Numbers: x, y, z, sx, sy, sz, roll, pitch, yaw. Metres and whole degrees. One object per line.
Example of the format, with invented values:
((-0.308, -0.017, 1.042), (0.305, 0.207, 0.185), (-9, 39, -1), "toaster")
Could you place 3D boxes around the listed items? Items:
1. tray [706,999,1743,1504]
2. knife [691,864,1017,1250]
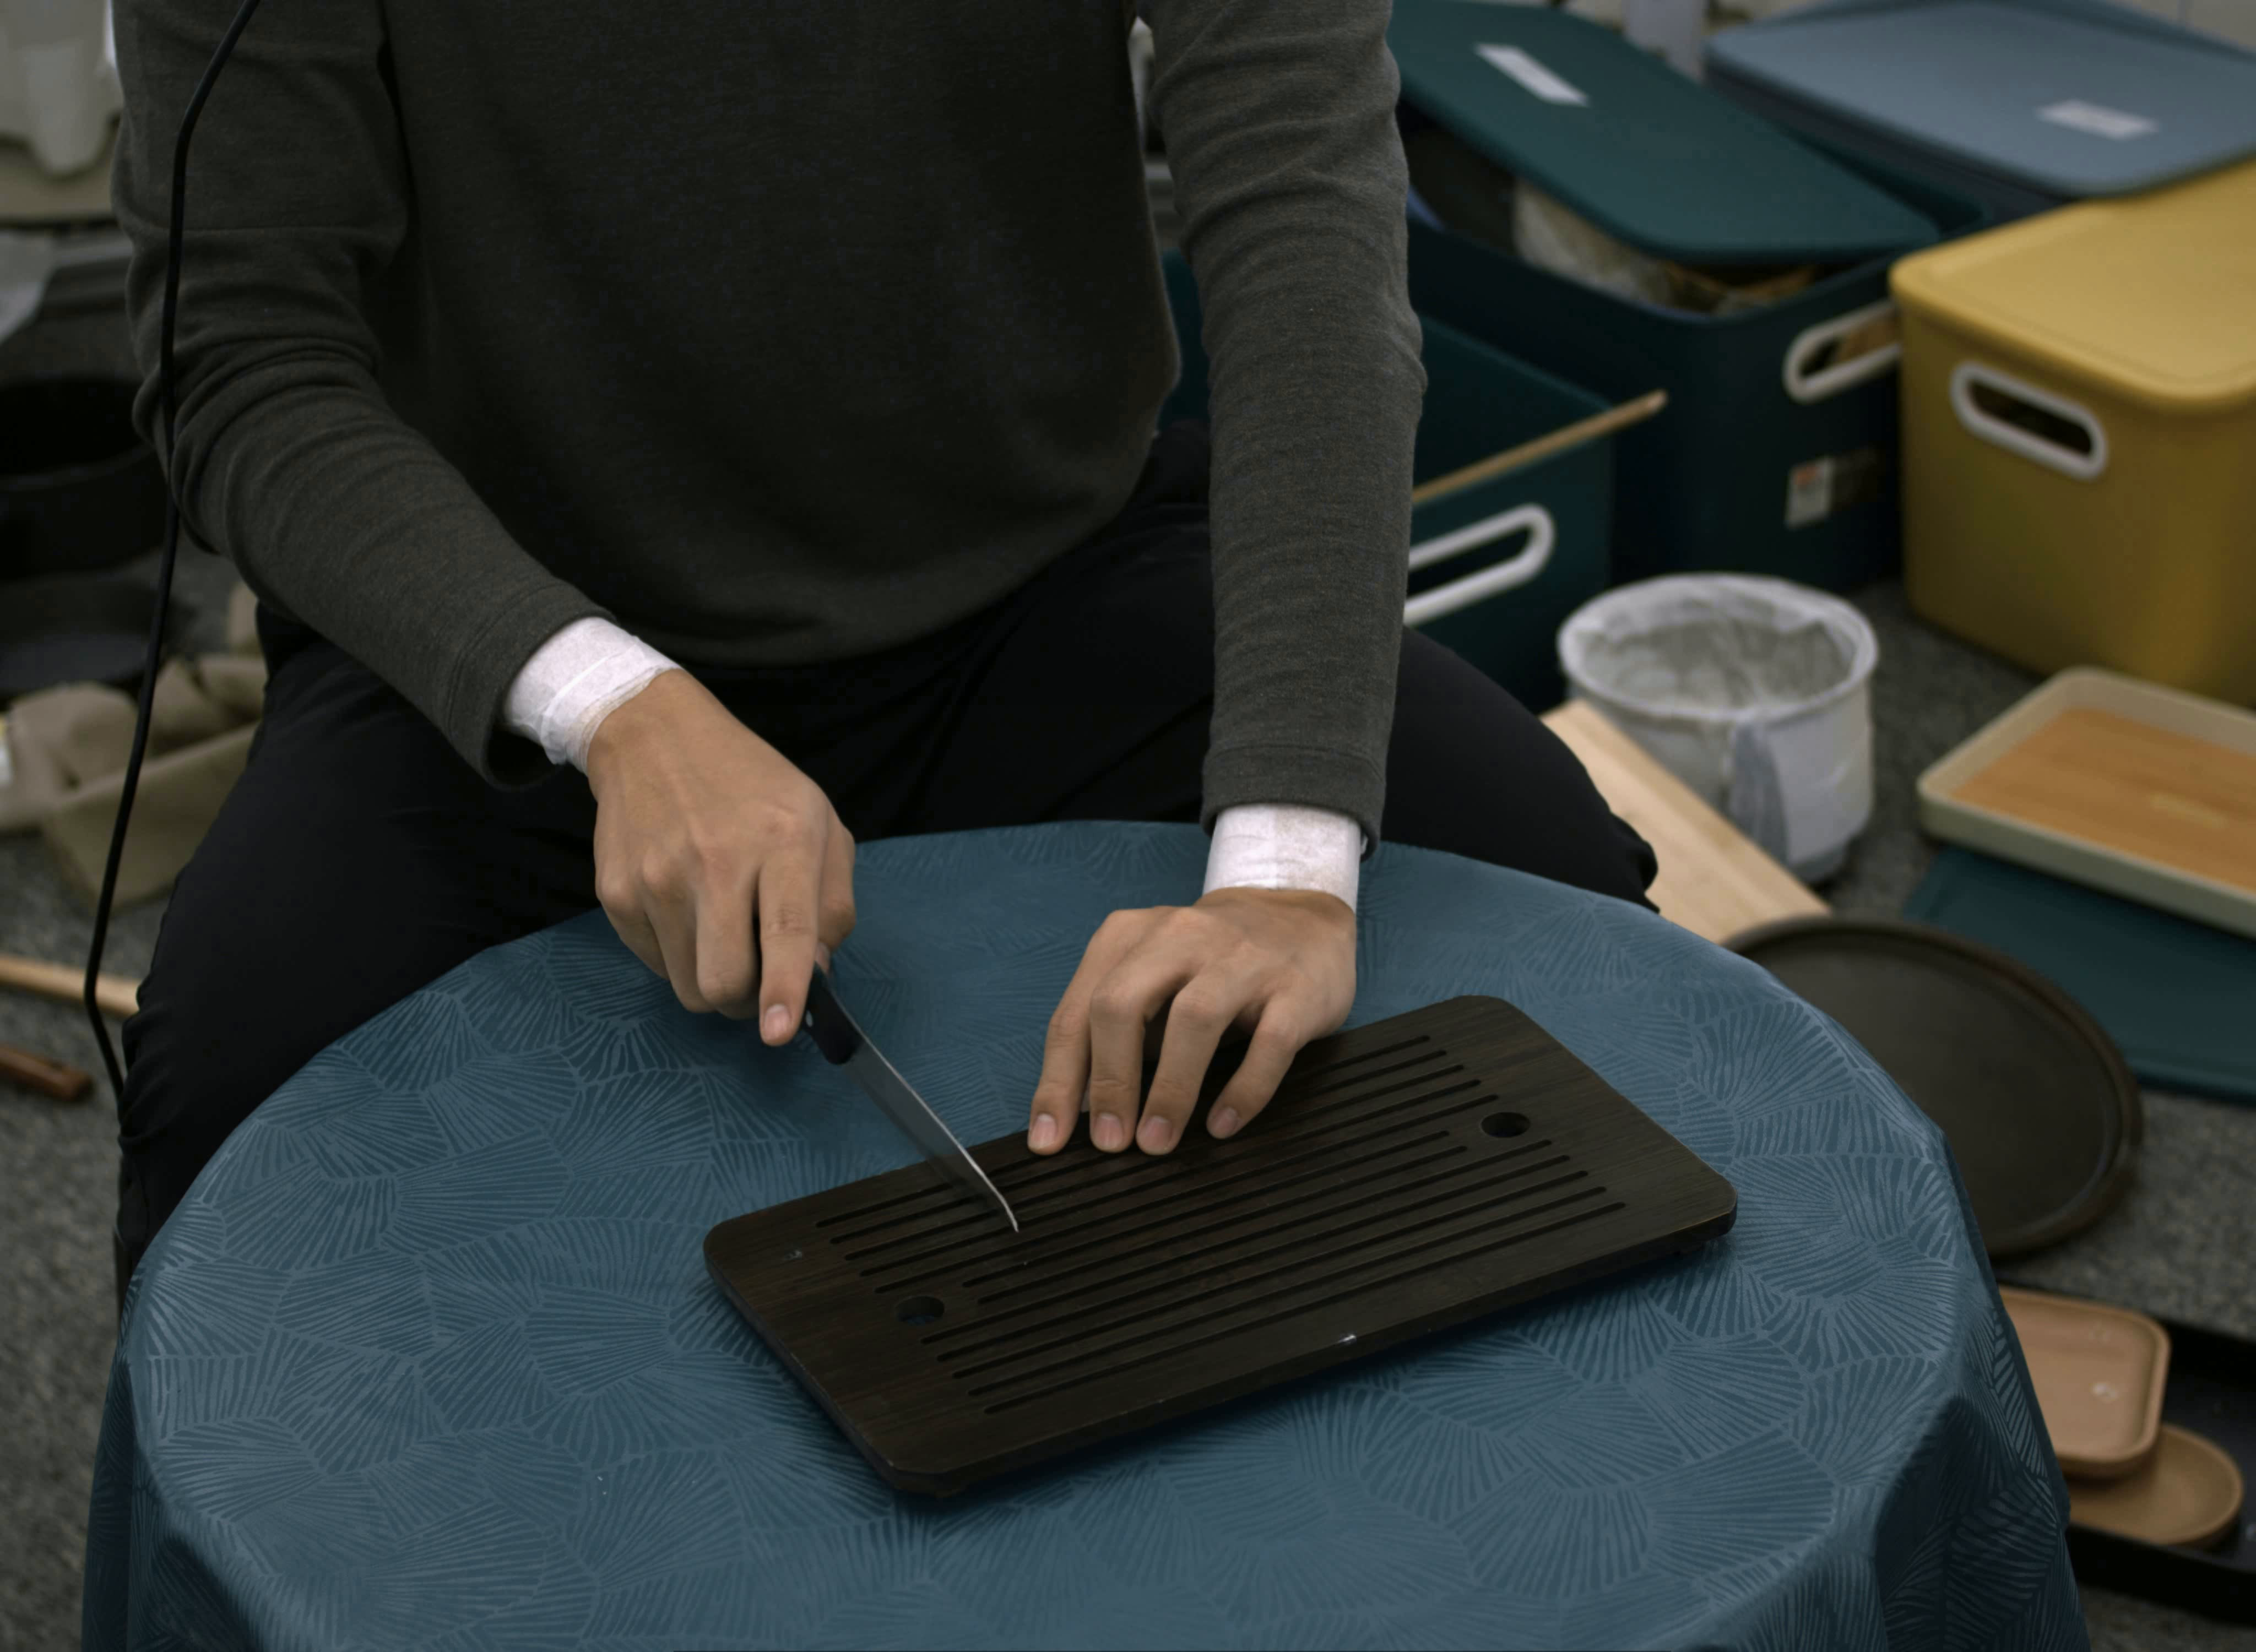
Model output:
((0.031, 0.135, 1.814), (0.307, 0.018, 0.171), (-16, 29, -24), "tray")
((-0.092, 0.075, 1.887), (0.016, 0.024, 0.240), (-8, 33, -29), "knife")
